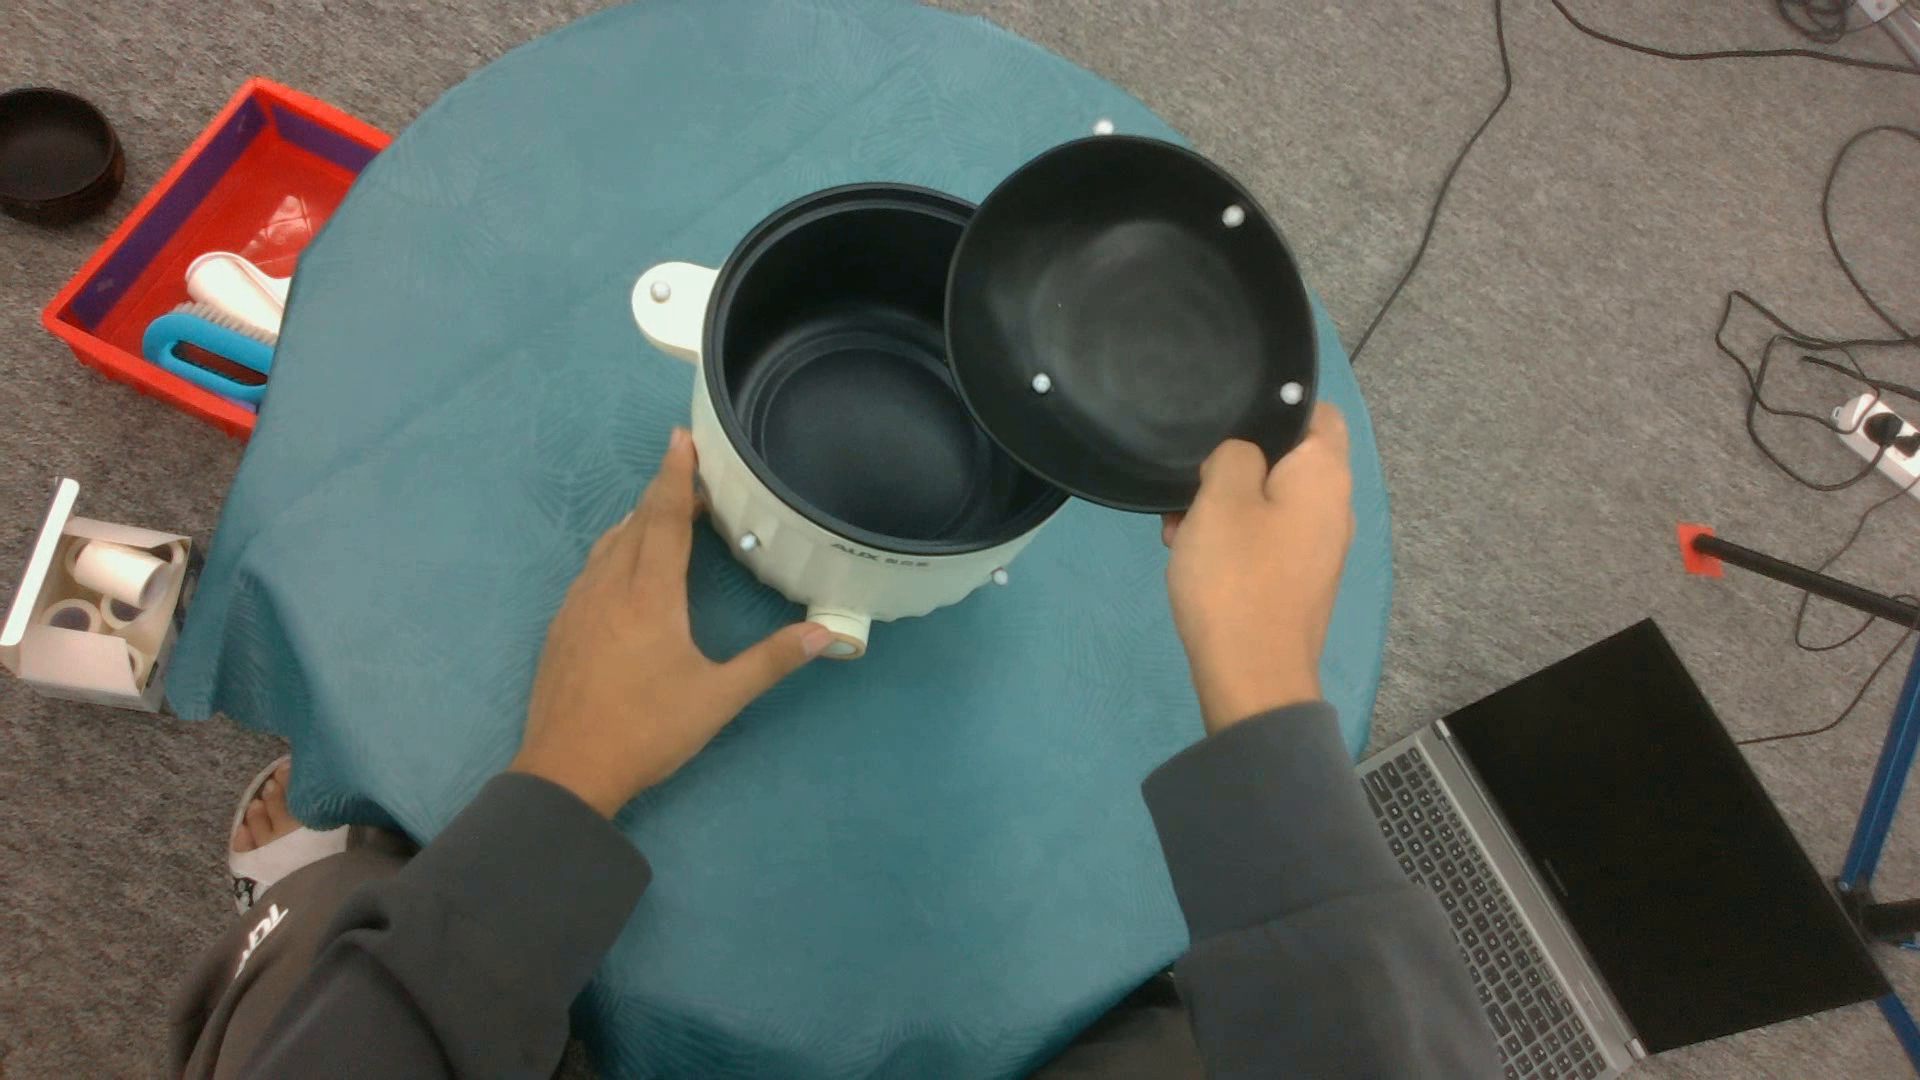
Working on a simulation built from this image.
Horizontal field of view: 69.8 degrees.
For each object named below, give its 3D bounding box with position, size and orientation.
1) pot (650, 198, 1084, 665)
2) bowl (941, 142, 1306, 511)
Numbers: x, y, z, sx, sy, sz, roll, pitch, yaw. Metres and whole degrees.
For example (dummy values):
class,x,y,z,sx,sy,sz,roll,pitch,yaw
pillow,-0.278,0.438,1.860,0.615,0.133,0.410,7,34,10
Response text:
class,x,y,z,sx,sy,sz,roll,pitch,yaw
pot,-0.030,-0.046,0.669,0.240,0.142,0.191,9,63,-10
bowl,0.075,-0.086,0.578,0.170,0.137,0.067,40,18,23
